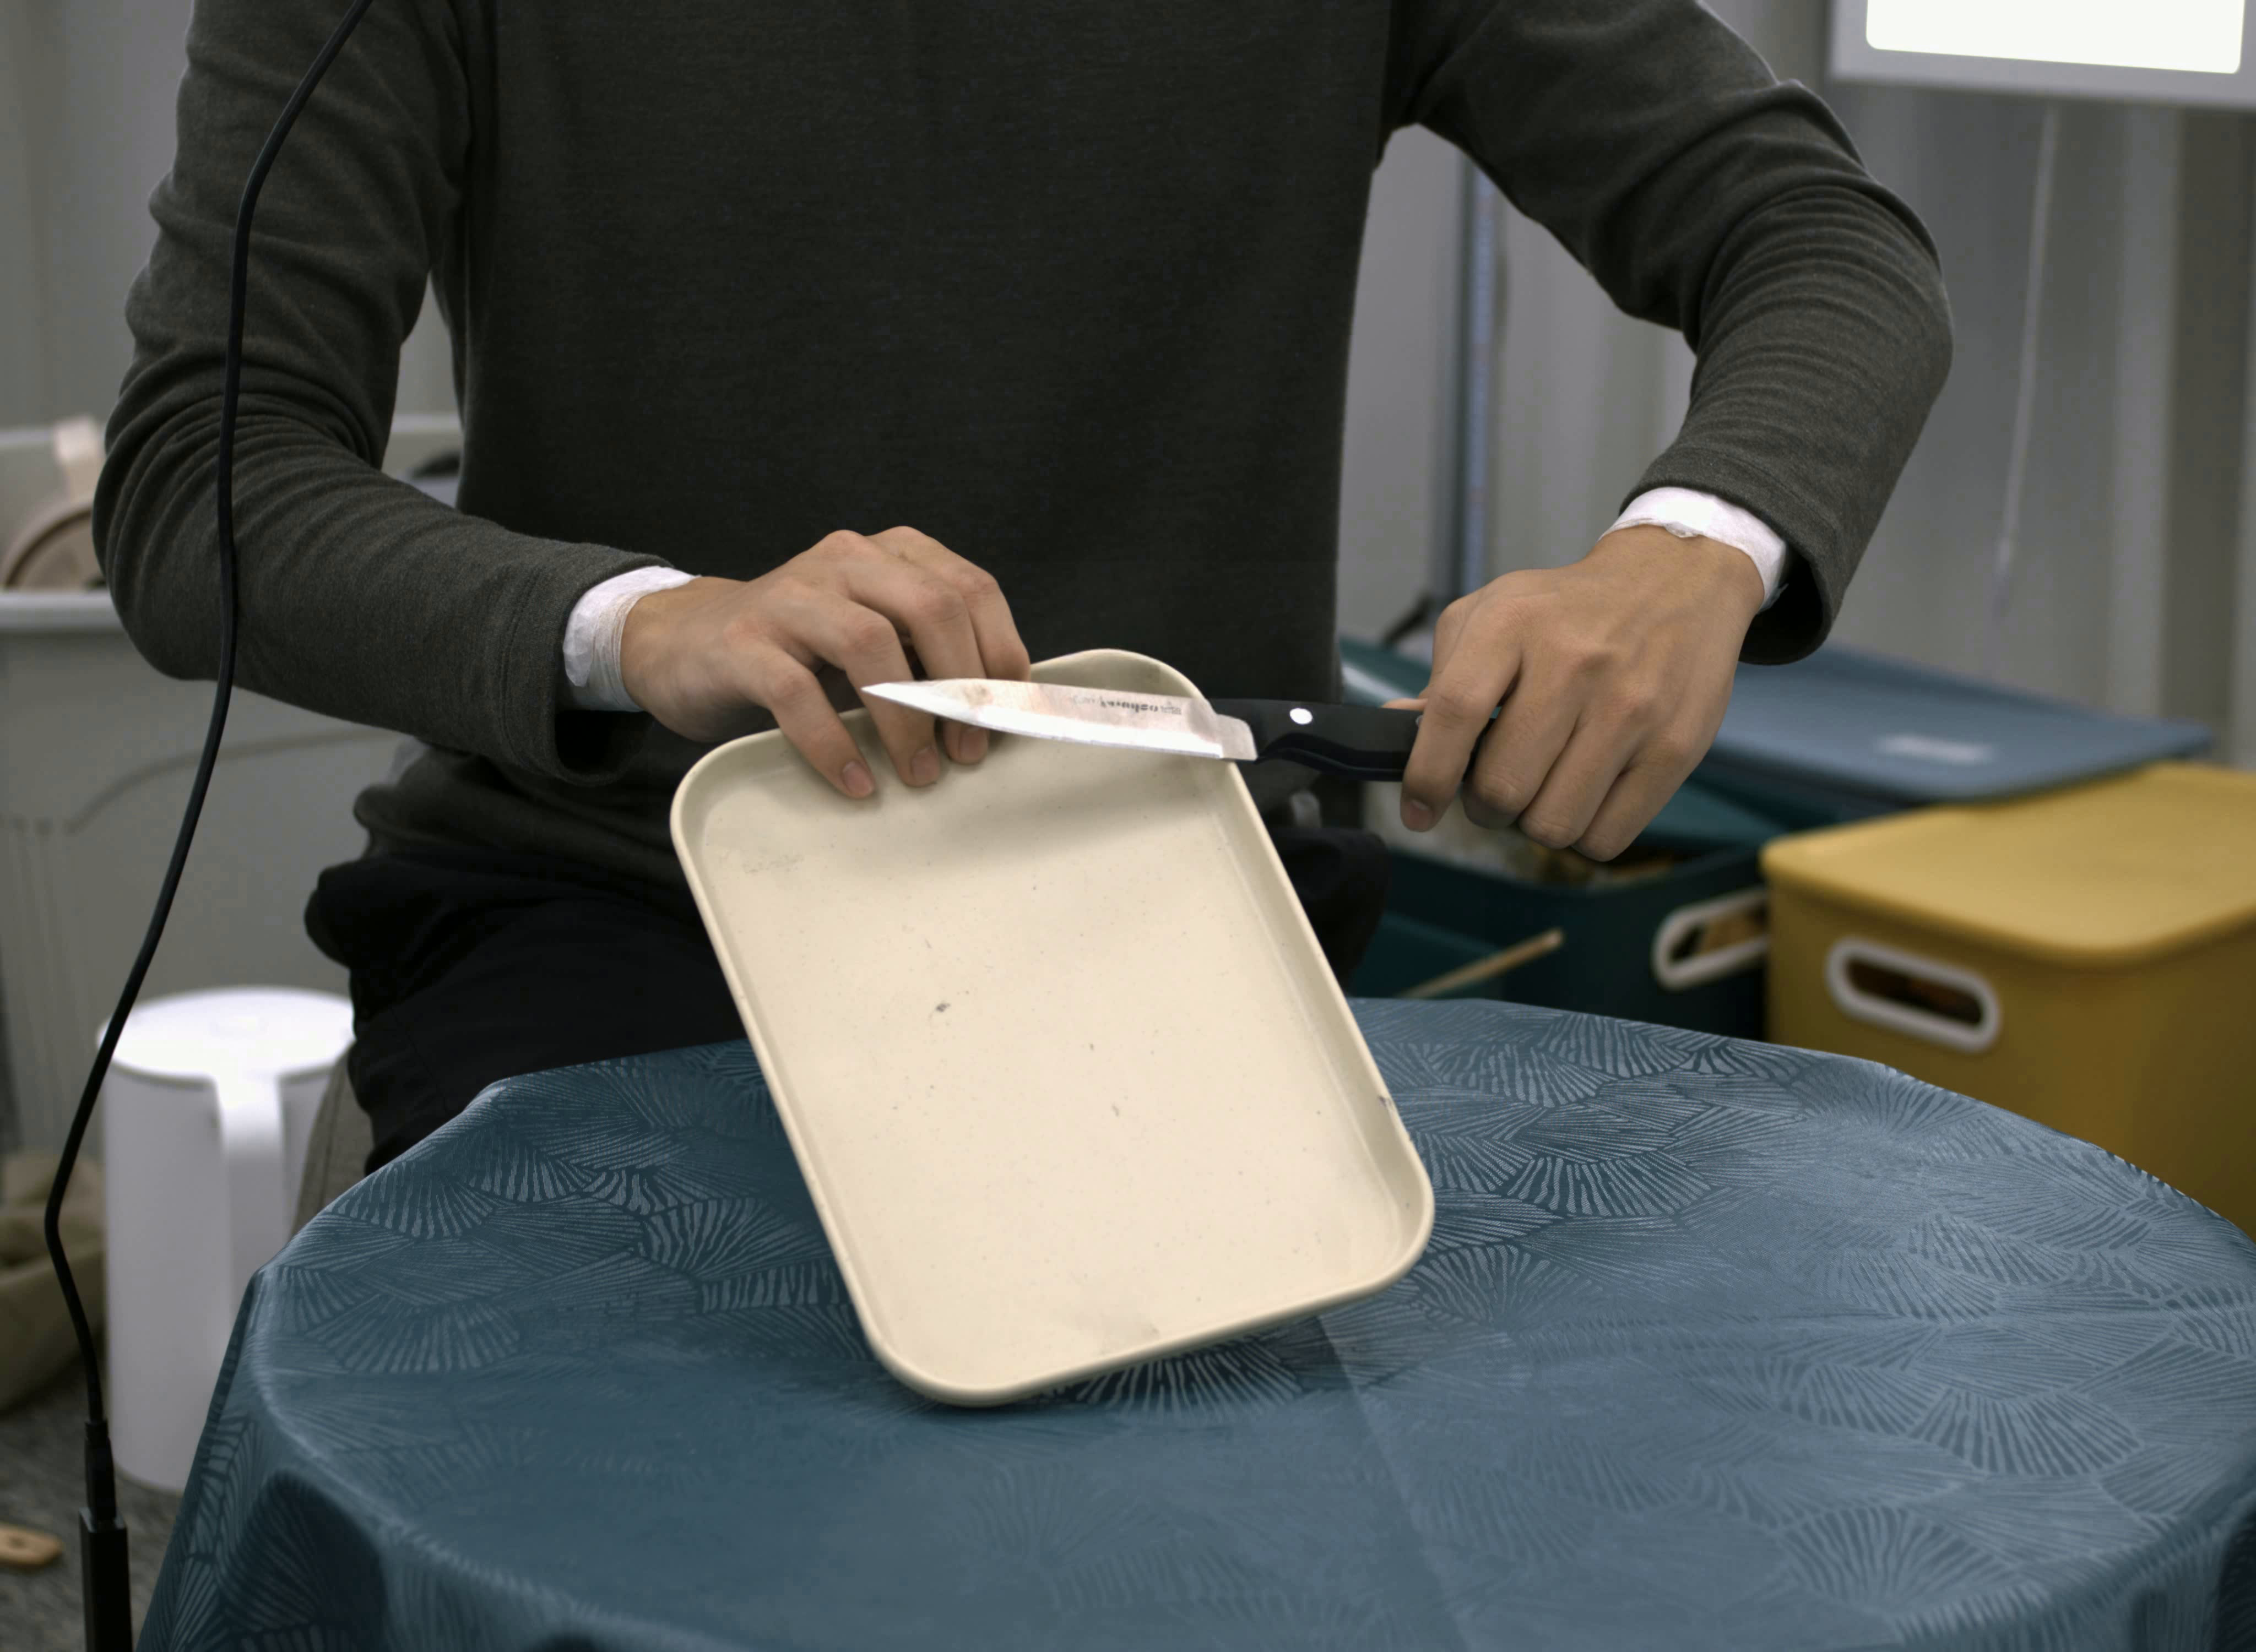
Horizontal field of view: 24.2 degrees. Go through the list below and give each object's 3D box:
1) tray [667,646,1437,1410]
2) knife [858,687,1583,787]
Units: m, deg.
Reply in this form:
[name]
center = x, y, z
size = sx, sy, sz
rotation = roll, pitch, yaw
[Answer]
[tray]
center = -0.025, 0.056, 1.524
size = 0.171, 0.017, 0.237
rotation = -15, 57, -15
[knife]
center = 0.030, -0.030, 1.580
size = 0.239, 0.016, 0.024
rotation = 4, 49, -24
